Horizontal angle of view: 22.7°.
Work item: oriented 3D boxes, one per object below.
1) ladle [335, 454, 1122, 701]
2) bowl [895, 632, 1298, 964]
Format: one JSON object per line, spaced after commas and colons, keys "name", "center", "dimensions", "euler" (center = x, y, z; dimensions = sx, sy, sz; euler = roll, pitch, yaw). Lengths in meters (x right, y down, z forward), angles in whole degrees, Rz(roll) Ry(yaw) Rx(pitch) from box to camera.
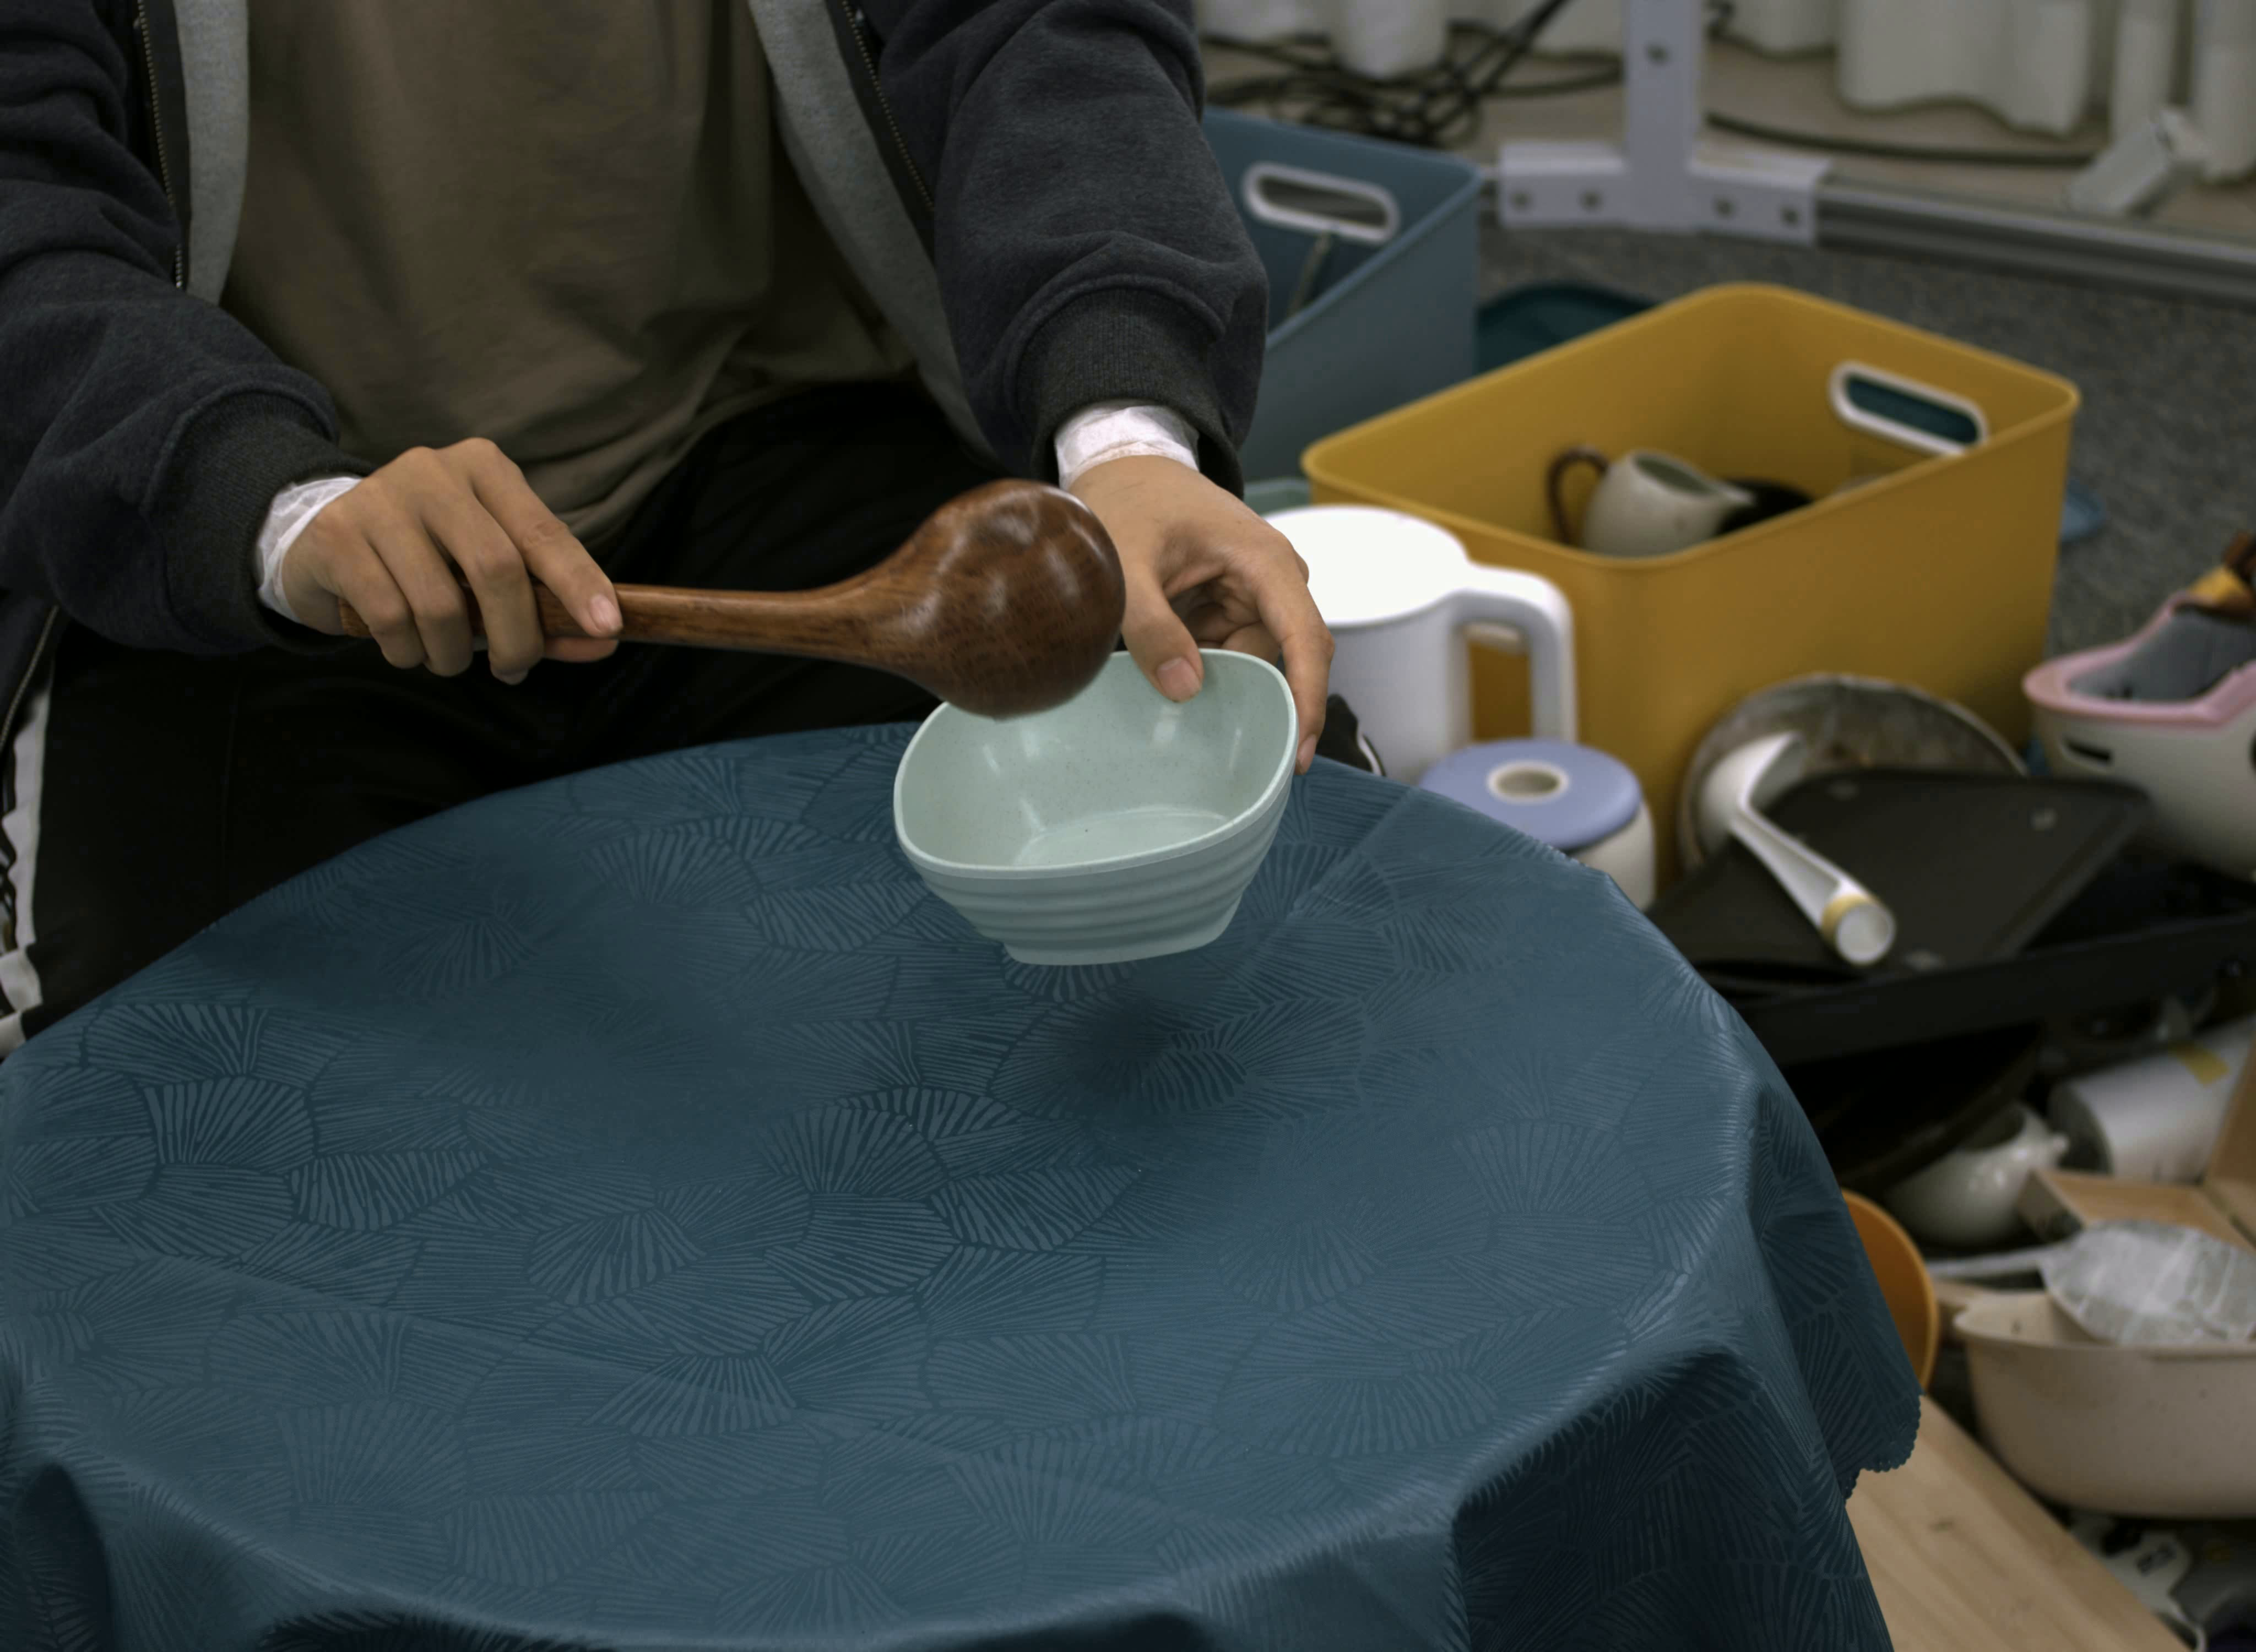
{"name": "ladle", "center": [-0.134, -0.082, 1.890], "dimensions": [0.271, 0.081, 0.077], "euler": [1, 17, 26]}
{"name": "bowl", "center": [-0.006, -0.002, 1.909], "dimensions": [0.150, 0.058, 0.154], "euler": [-8, 34, 6]}
